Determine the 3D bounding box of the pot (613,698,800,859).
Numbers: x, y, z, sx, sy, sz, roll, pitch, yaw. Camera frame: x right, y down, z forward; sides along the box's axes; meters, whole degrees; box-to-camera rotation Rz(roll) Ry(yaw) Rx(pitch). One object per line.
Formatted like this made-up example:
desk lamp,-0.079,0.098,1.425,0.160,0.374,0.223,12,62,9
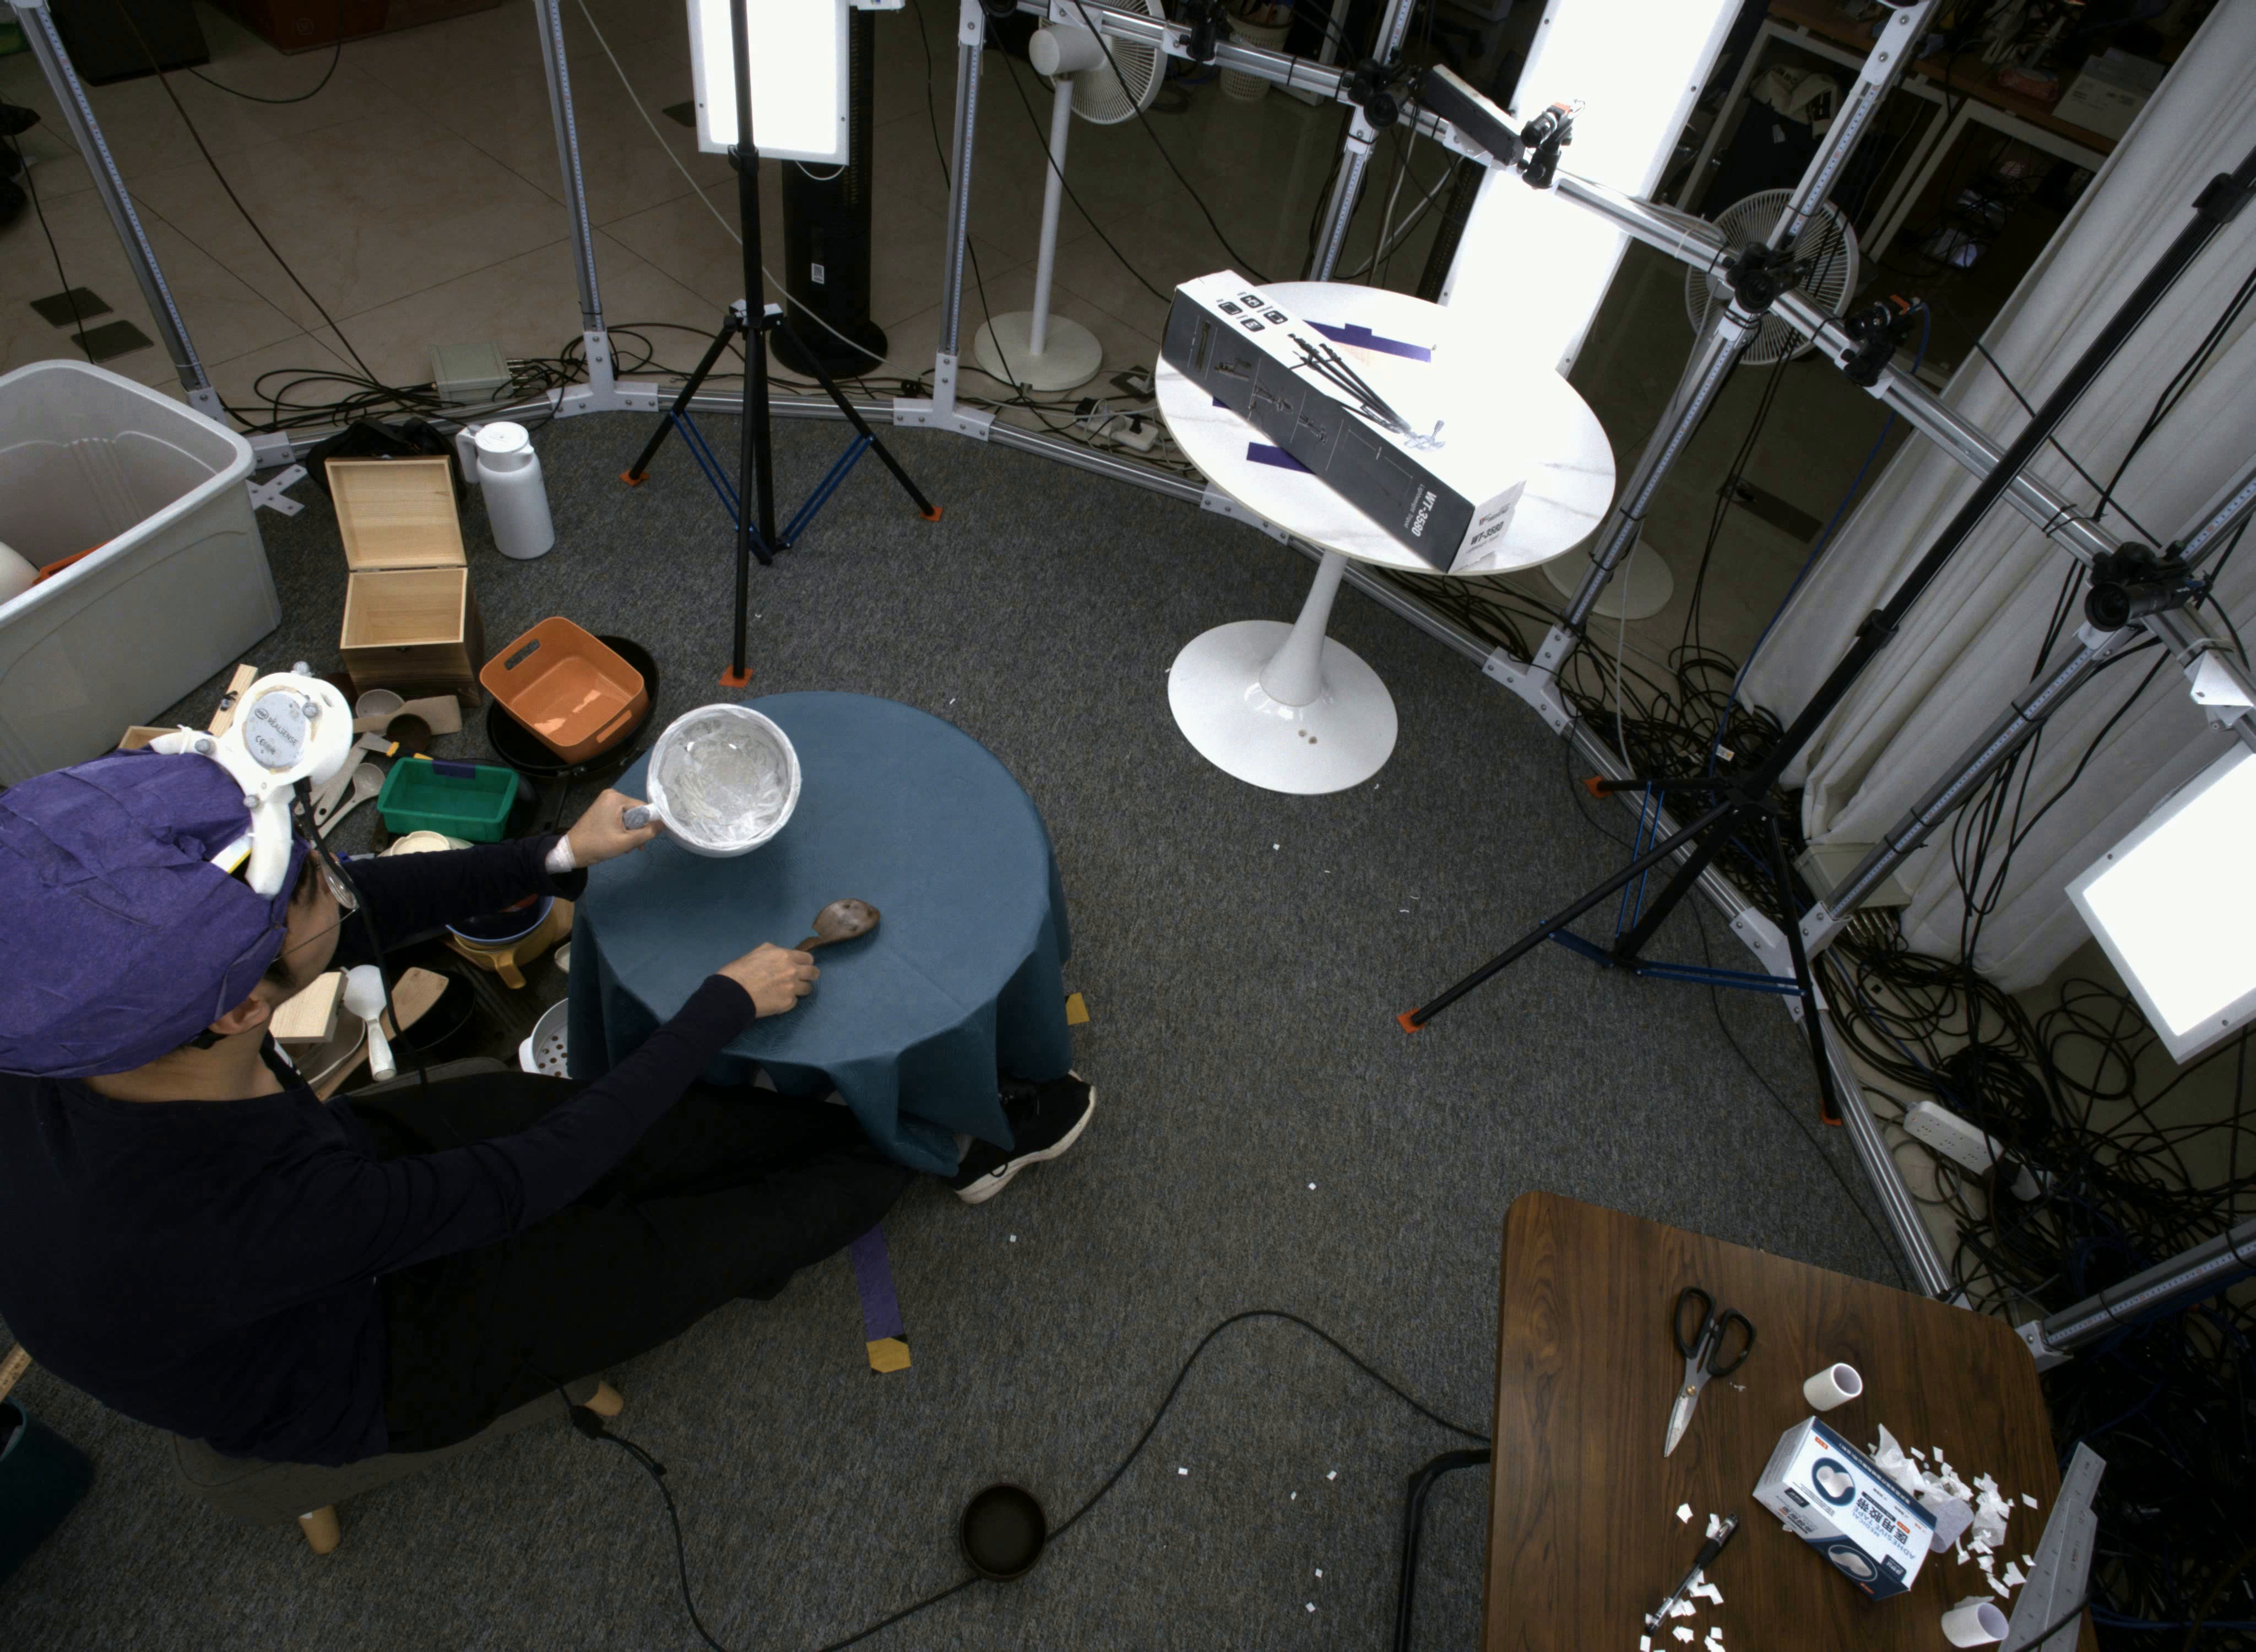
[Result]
pot,-0.523,-0.042,1.582,0.234,0.135,0.181,-30,93,-23

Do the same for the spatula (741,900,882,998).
spatula,-0.397,0.149,1.608,0.069,0.009,0.216,25,44,29
